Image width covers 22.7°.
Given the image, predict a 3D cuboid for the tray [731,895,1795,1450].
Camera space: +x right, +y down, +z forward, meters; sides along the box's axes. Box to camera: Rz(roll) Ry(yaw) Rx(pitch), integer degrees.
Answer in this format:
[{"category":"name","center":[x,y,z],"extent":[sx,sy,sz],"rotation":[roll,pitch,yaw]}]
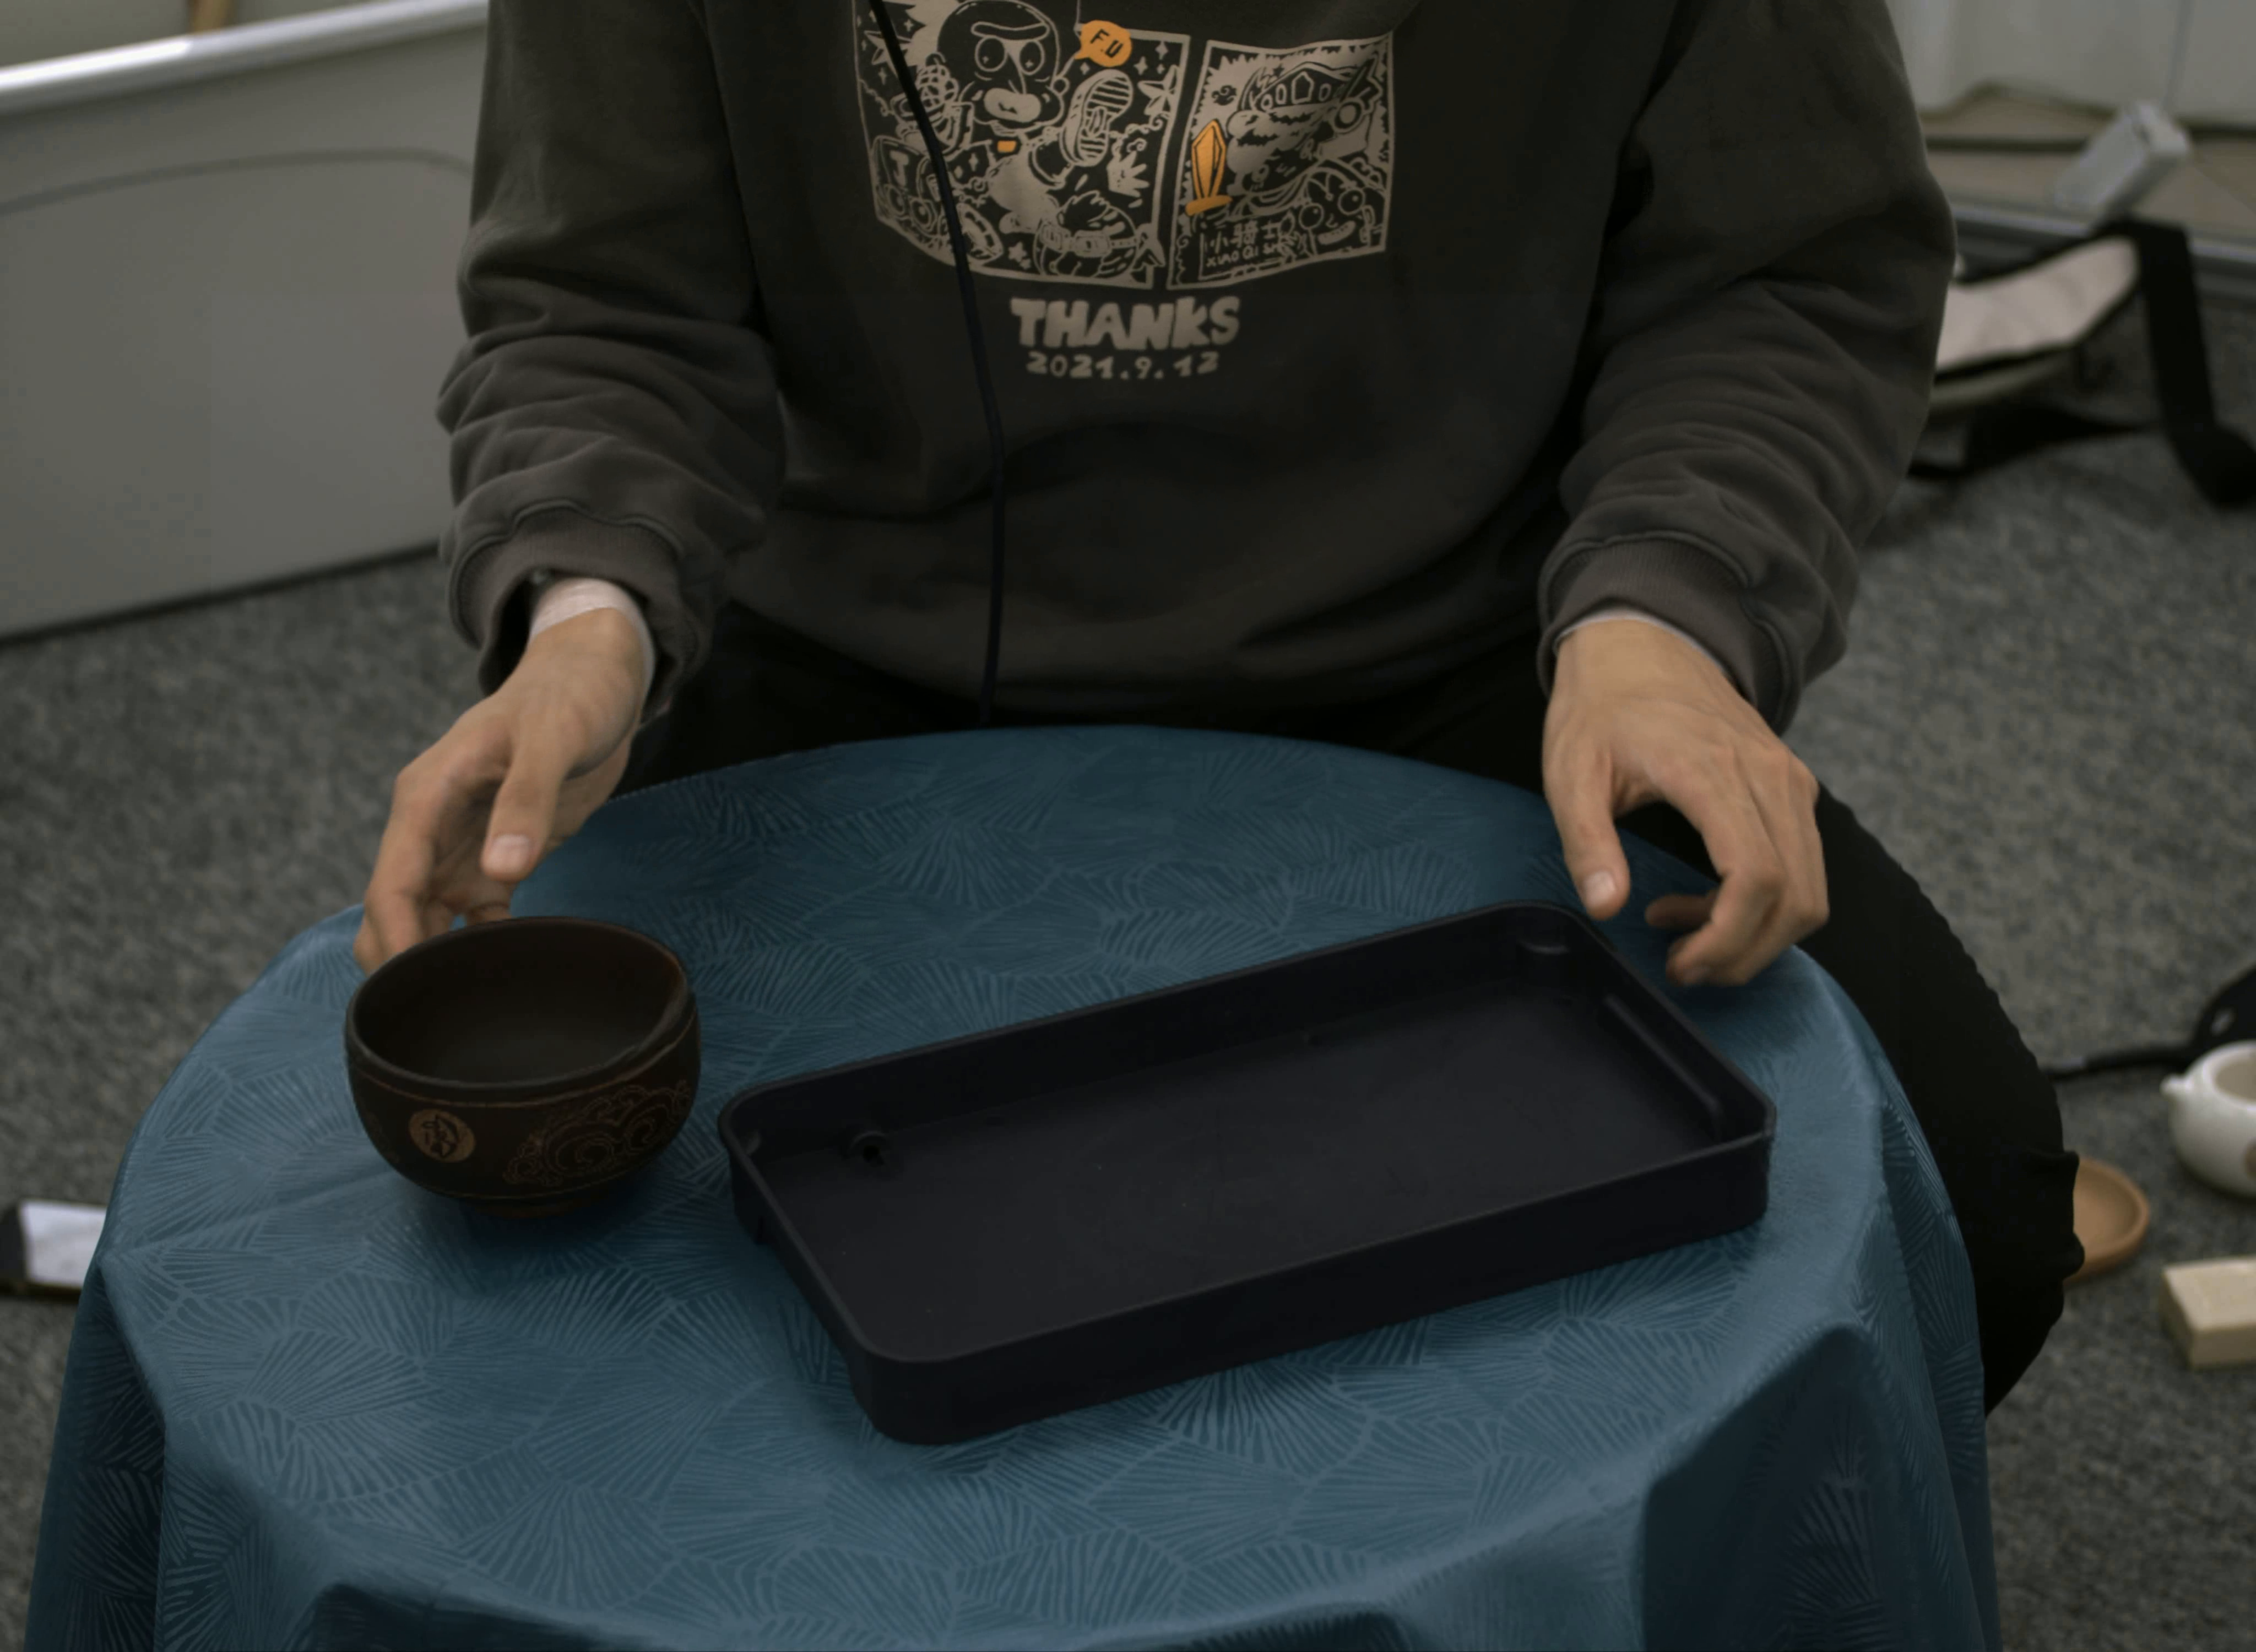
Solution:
[{"category":"tray","center":[0.044,0.109,1.843],"extent":[0.319,0.036,0.185],"rotation":[-14,29,-20]}]

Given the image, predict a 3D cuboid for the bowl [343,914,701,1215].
[{"category":"bowl","center":[-0.200,0.086,1.871],"extent":[0.117,0.069,0.120],"rotation":[-2,26,1]}]
